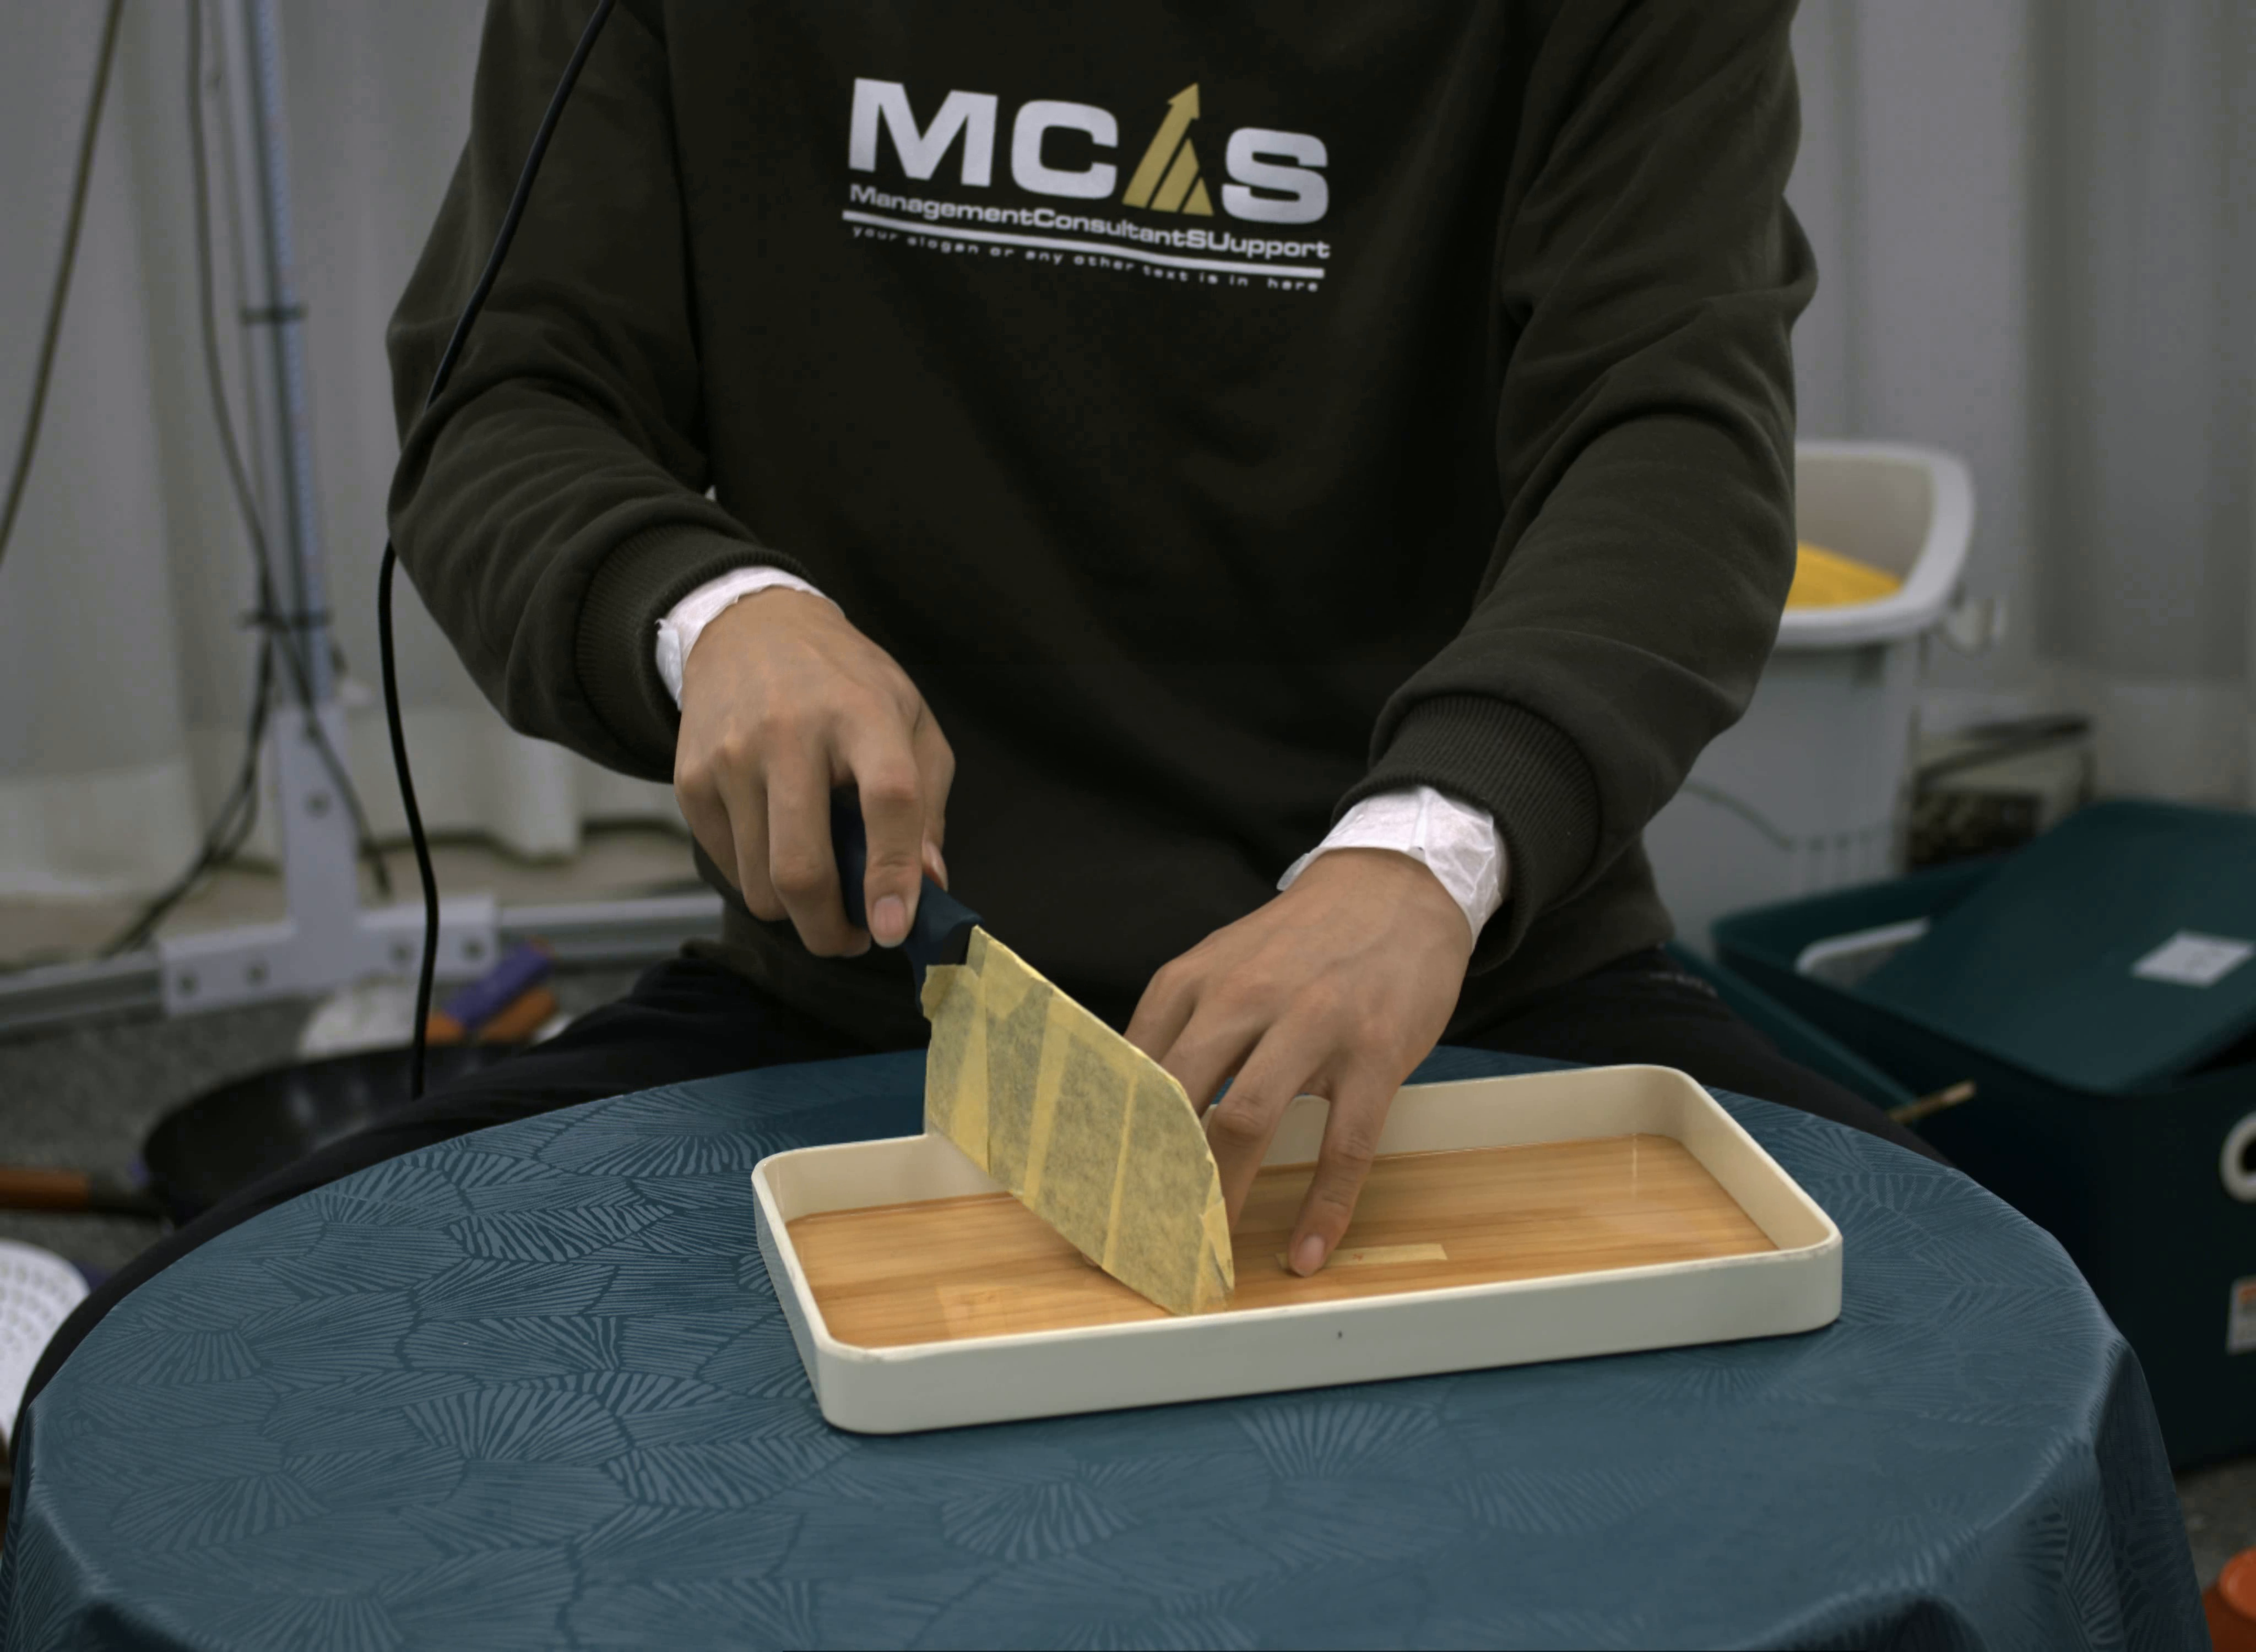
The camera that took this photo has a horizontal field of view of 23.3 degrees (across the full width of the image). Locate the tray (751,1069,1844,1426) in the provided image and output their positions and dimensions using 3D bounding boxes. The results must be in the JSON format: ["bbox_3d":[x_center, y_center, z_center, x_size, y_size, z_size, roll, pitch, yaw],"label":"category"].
[{"bbox_3d":[0.046,0.123,1.626,0.299,0.027,0.193,-5,14,-9],"label":"tray"}]

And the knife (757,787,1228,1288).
[{"bbox_3d":[-0.043,0.064,1.668,0.027,0.080,0.293,-1,26,-32],"label":"knife"}]
